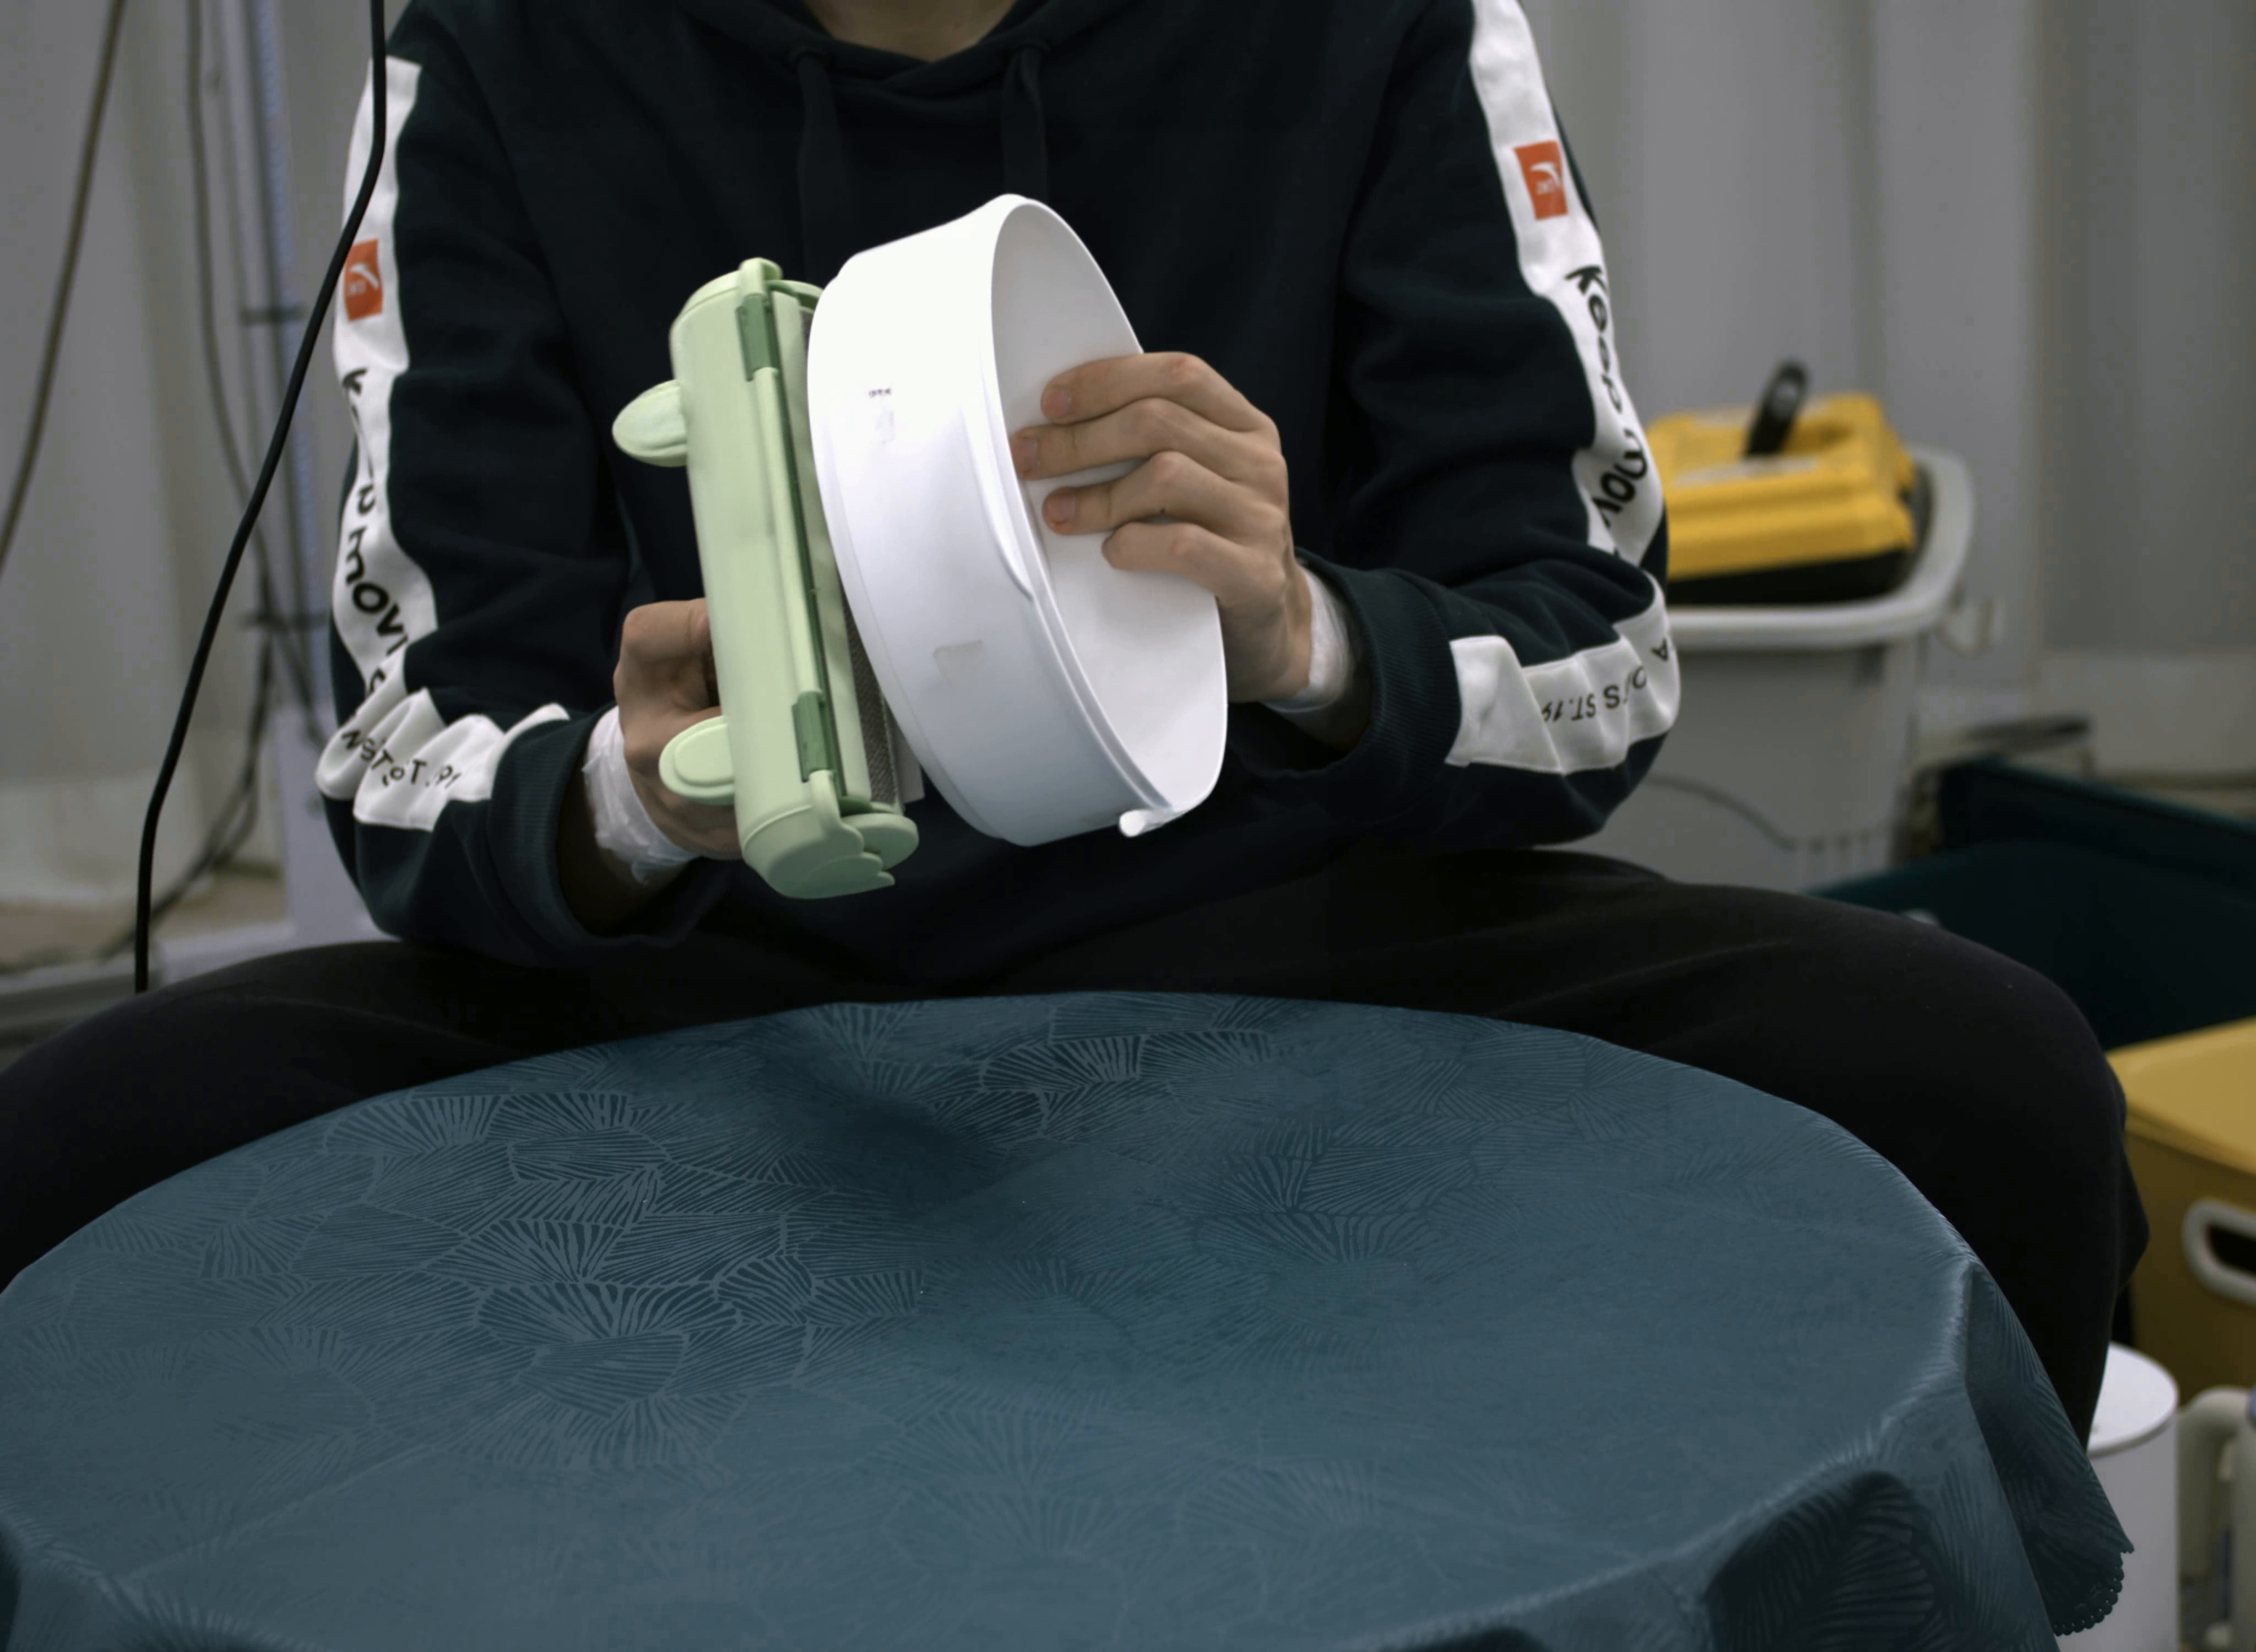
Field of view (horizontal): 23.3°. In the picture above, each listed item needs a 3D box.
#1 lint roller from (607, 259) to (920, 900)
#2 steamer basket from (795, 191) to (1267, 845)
[{"bbox_3d":[-0.127,-0.053,1.731,0.082,0.201,0.182,-2,-24,-20],"label":"lint roller"},{"bbox_3d":[-0.031,-0.093,1.704,0.069,0.203,0.229,-21,-8,22],"label":"steamer basket"}]
